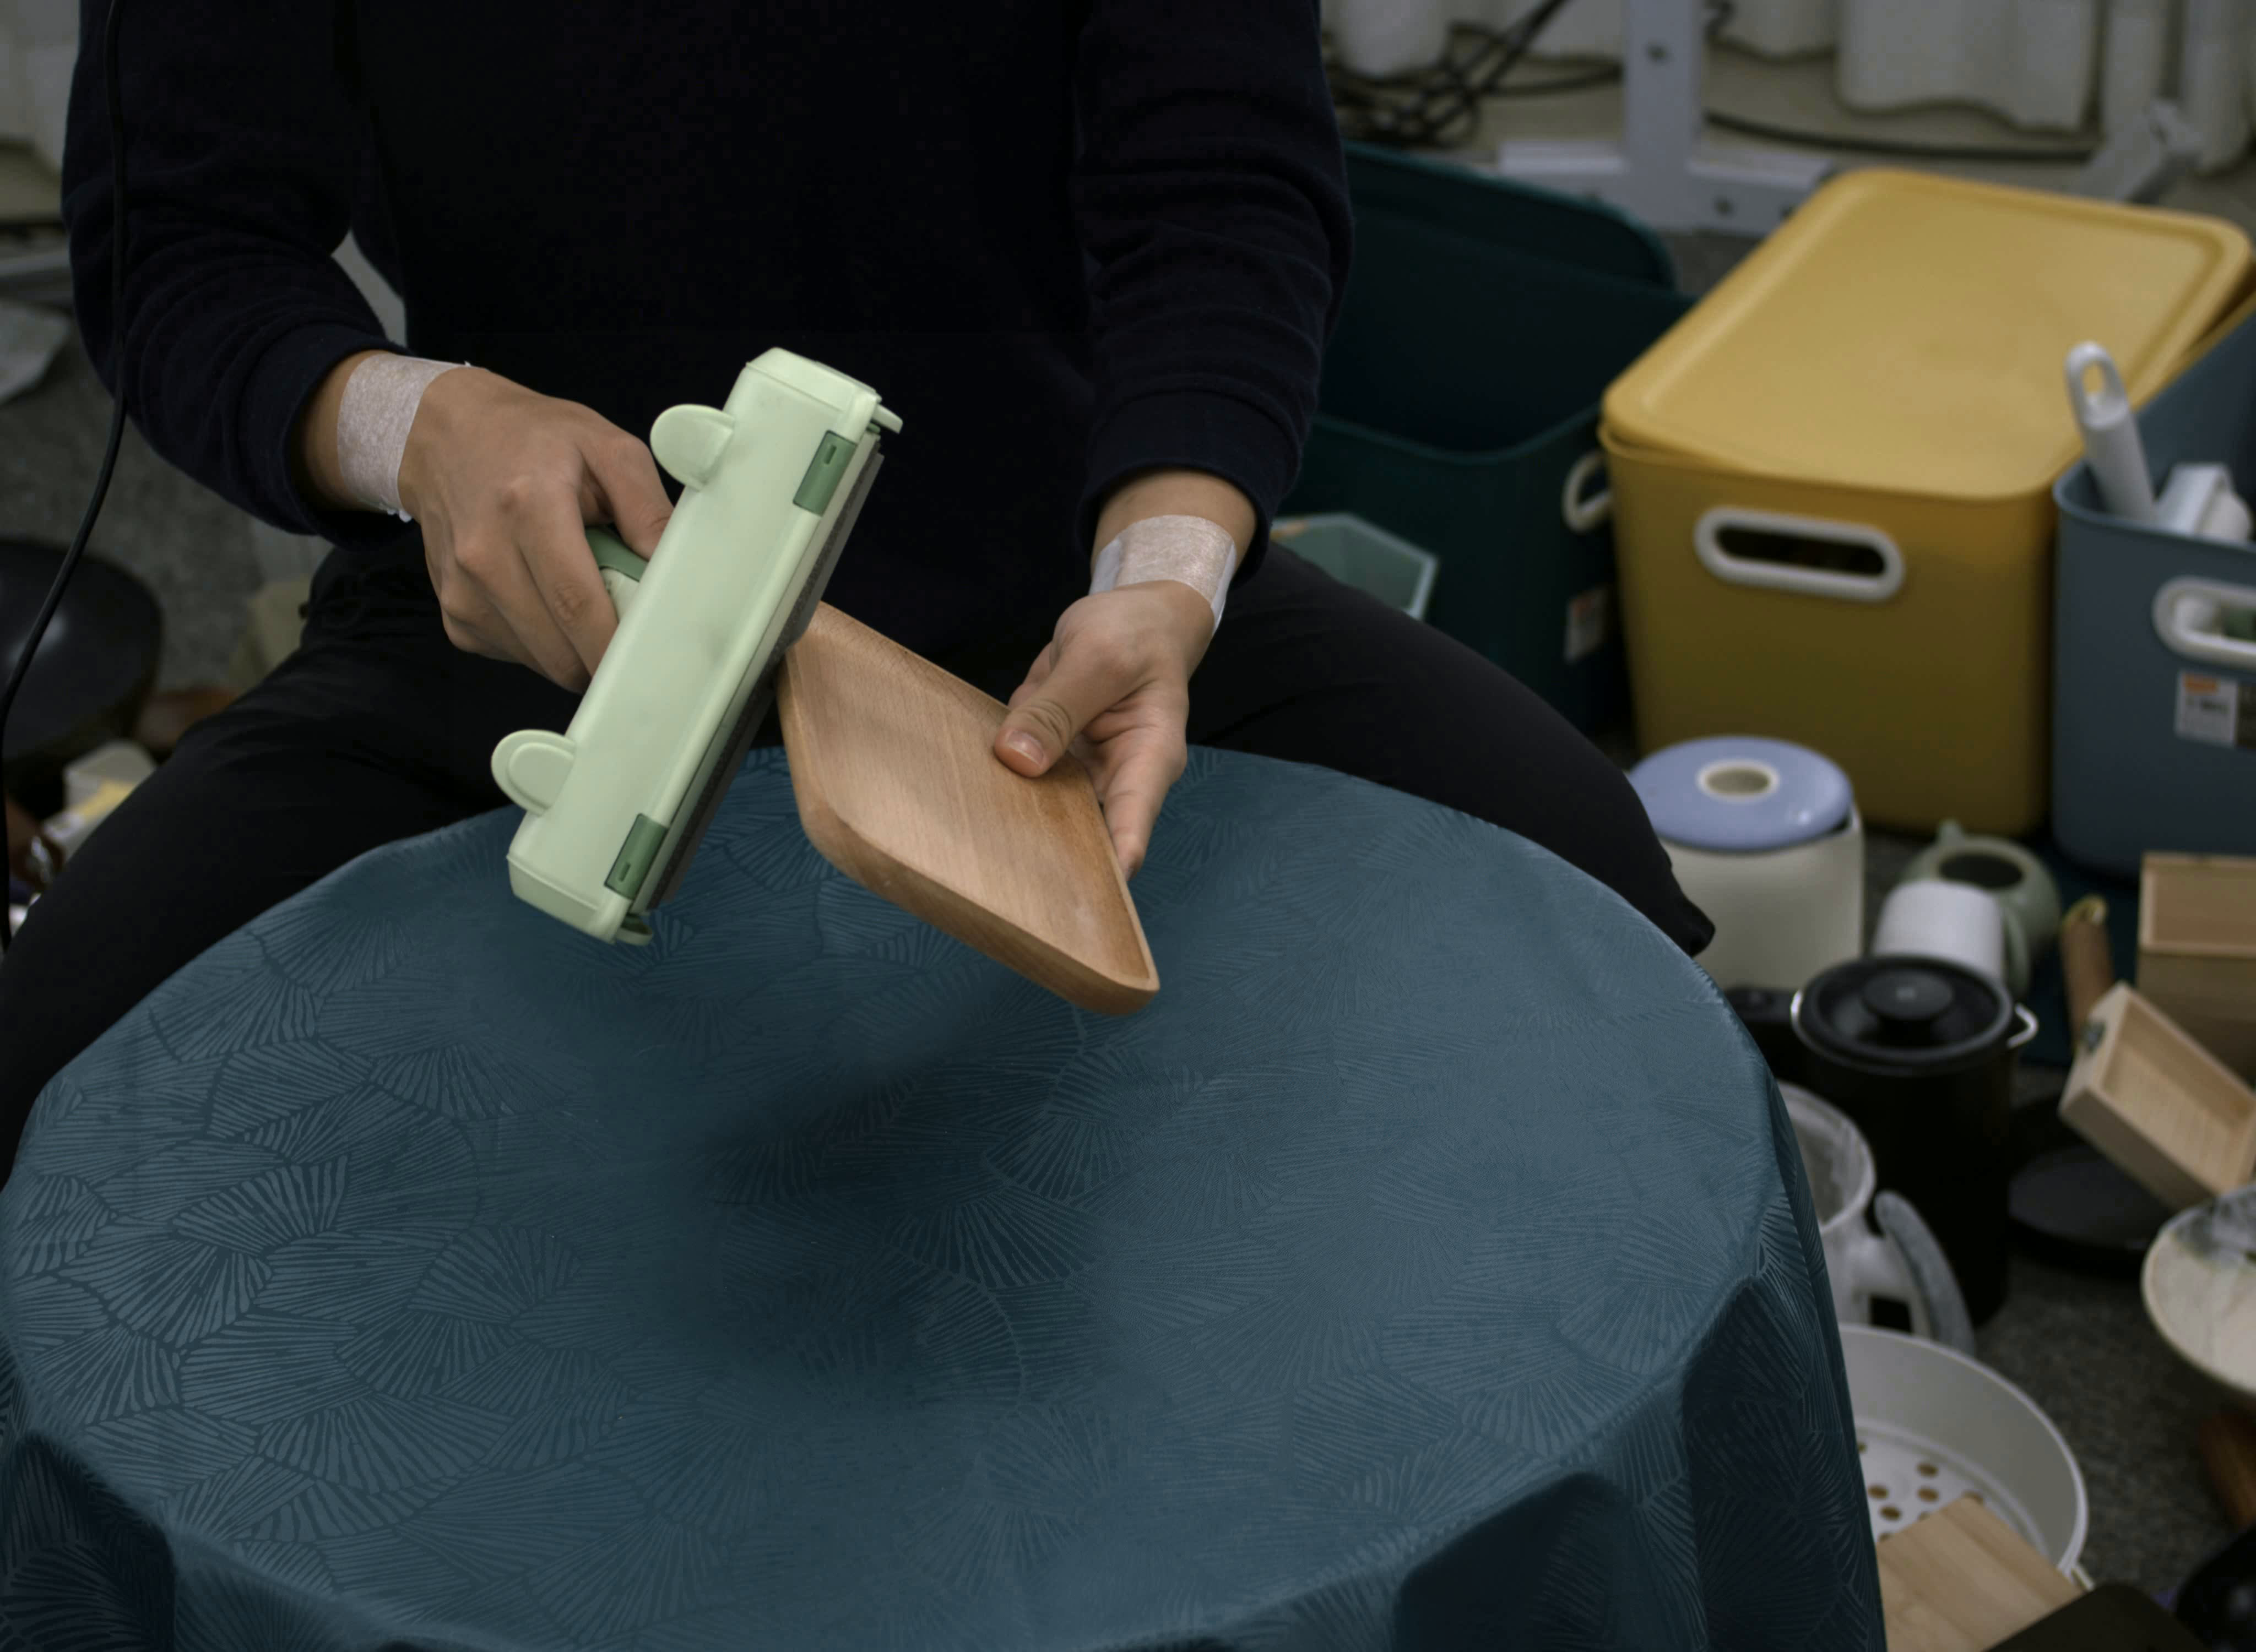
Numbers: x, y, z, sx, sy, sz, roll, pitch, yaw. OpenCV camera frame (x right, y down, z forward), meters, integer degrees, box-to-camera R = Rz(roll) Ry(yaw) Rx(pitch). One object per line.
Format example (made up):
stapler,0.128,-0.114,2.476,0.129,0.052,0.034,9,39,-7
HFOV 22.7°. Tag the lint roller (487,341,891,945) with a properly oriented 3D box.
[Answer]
lint roller,-0.176,-0.078,1.842,0.082,0.199,0.183,27,-1,-44

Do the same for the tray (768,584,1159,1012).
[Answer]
tray,-0.058,-0.012,1.802,0.130,0.023,0.253,33,12,-16
